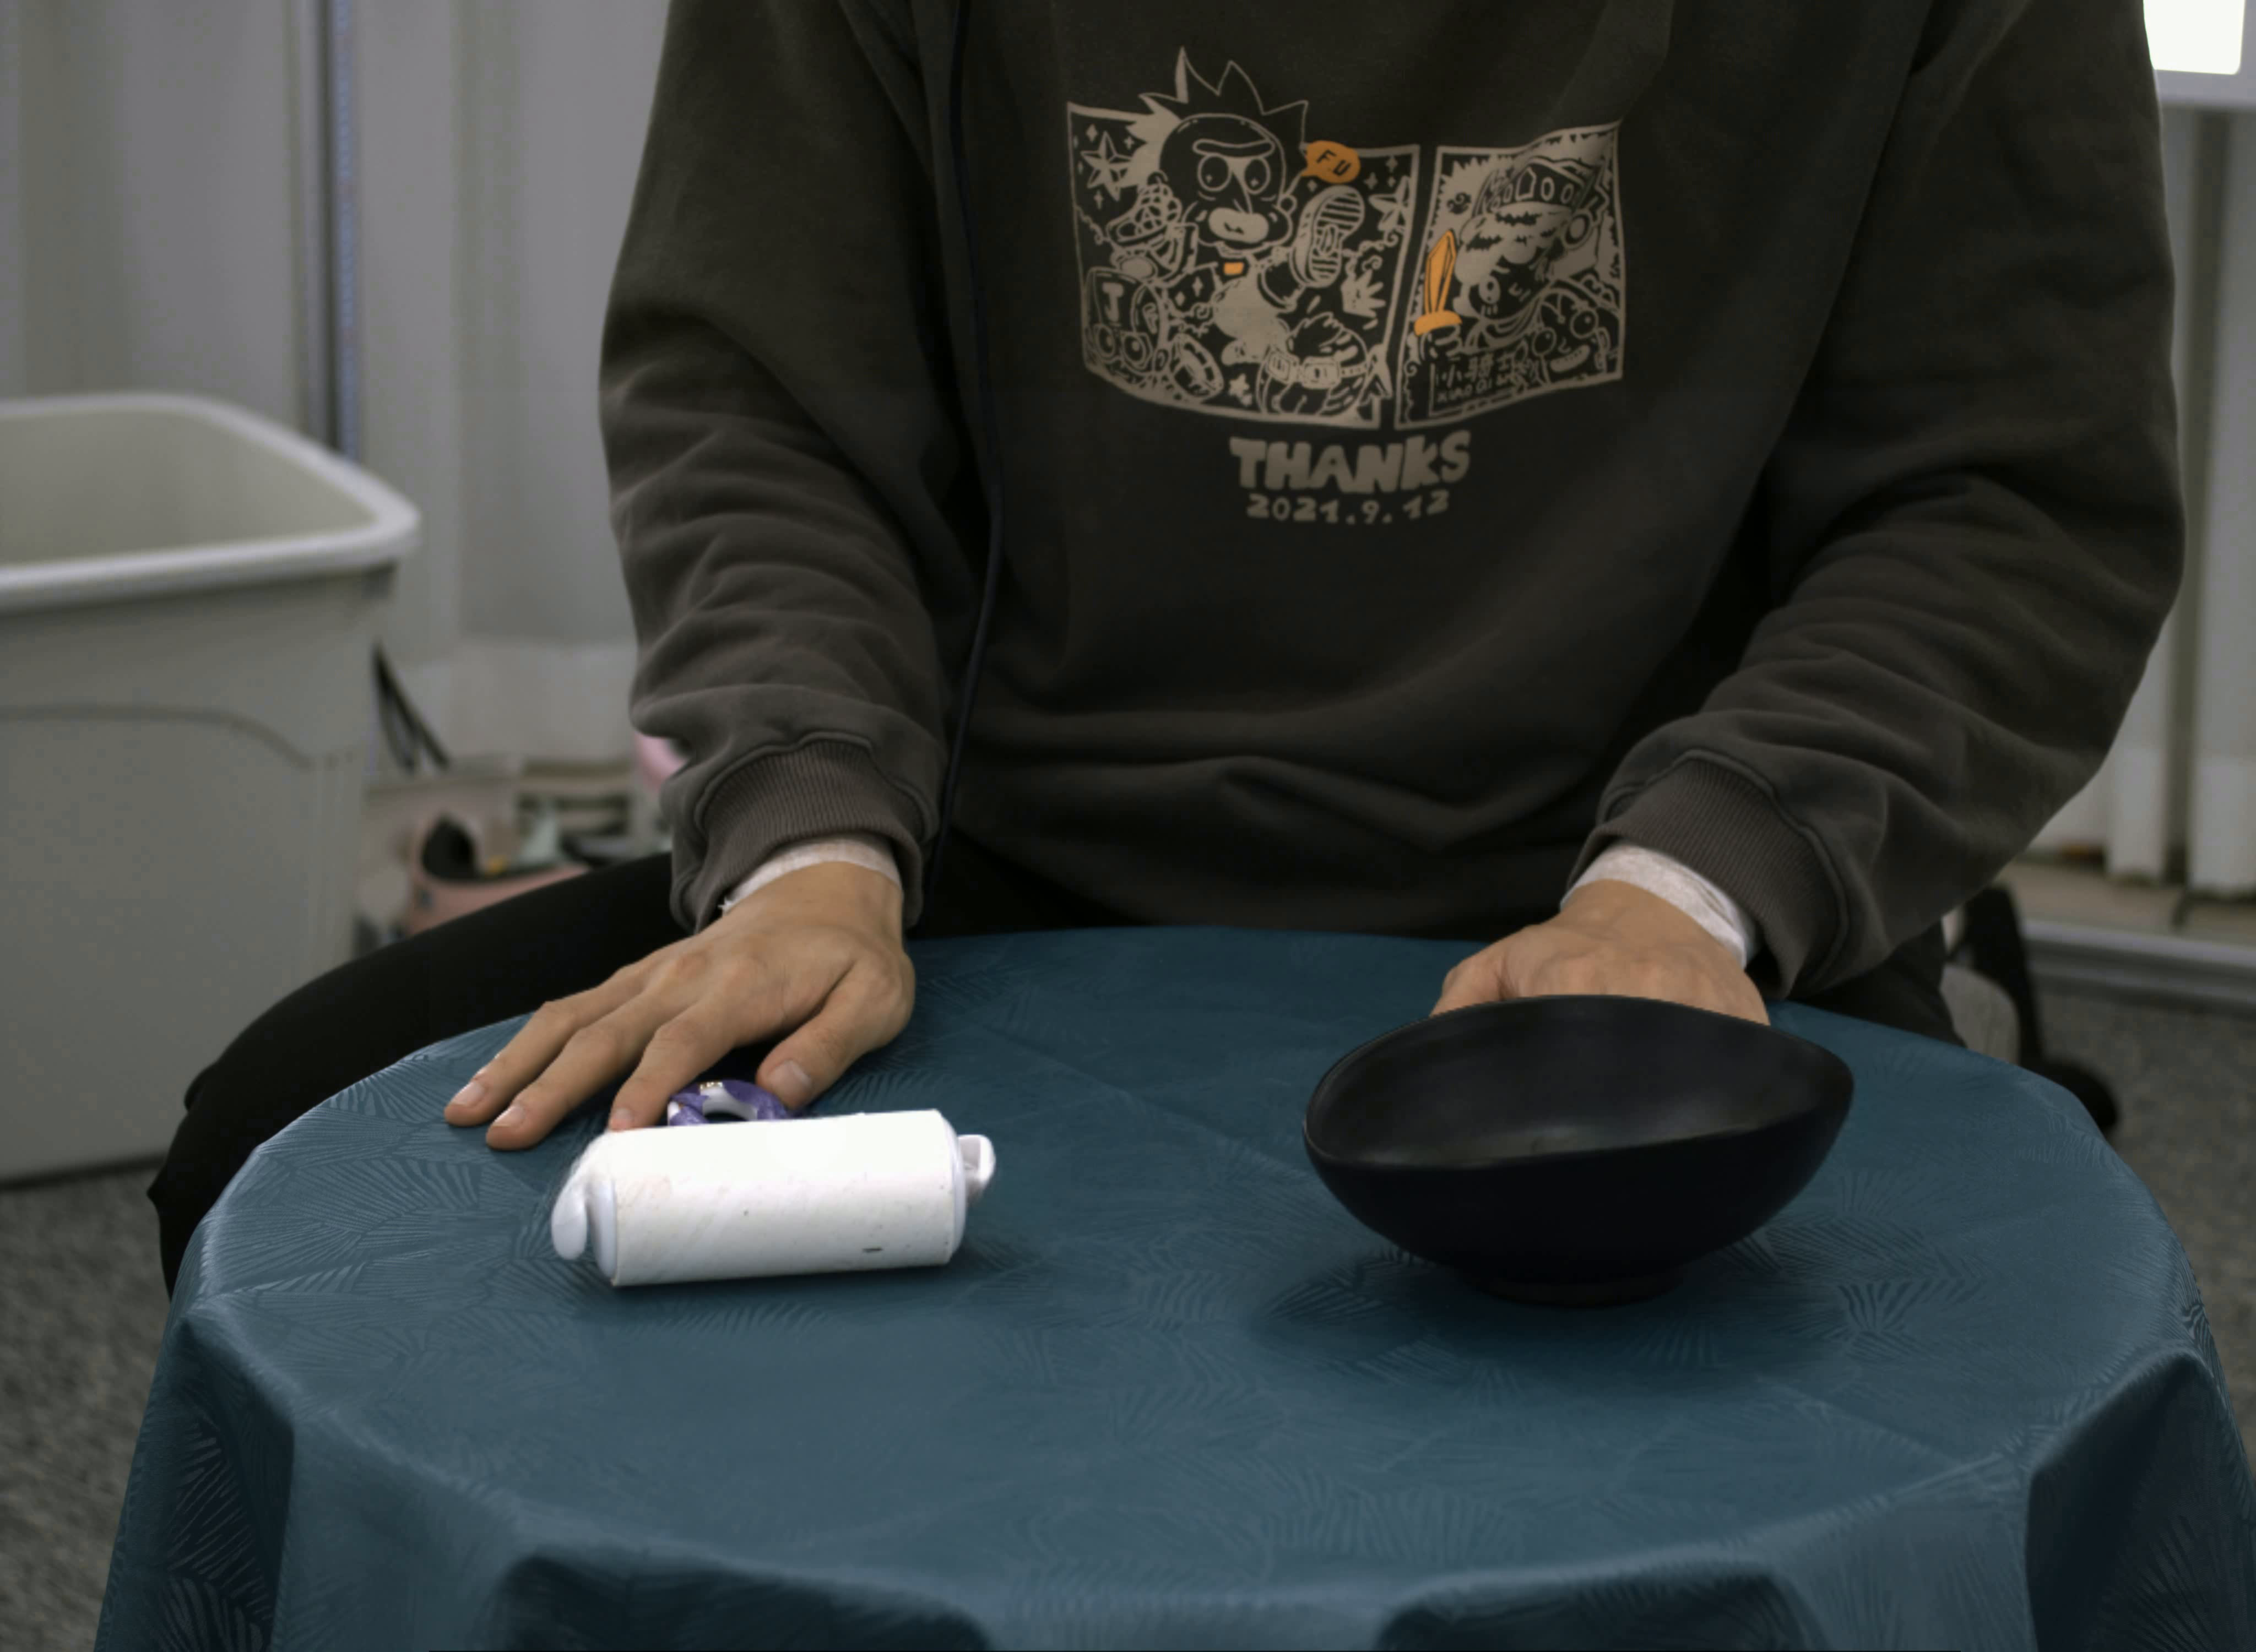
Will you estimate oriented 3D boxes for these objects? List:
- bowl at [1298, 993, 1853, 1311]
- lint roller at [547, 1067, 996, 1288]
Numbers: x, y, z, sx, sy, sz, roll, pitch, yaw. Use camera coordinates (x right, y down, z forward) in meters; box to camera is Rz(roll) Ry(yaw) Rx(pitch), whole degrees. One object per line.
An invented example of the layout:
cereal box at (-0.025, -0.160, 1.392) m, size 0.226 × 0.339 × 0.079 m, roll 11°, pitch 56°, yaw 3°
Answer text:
bowl at (0.133, 0.102, 1.556) m, size 0.171 × 0.067 × 0.135 m, roll -9°, pitch 17°, yaw -25°
lint roller at (-0.115, 0.091, 1.613) m, size 0.133 × 0.050 × 0.179 m, roll -2°, pitch 19°, yaw -9°
